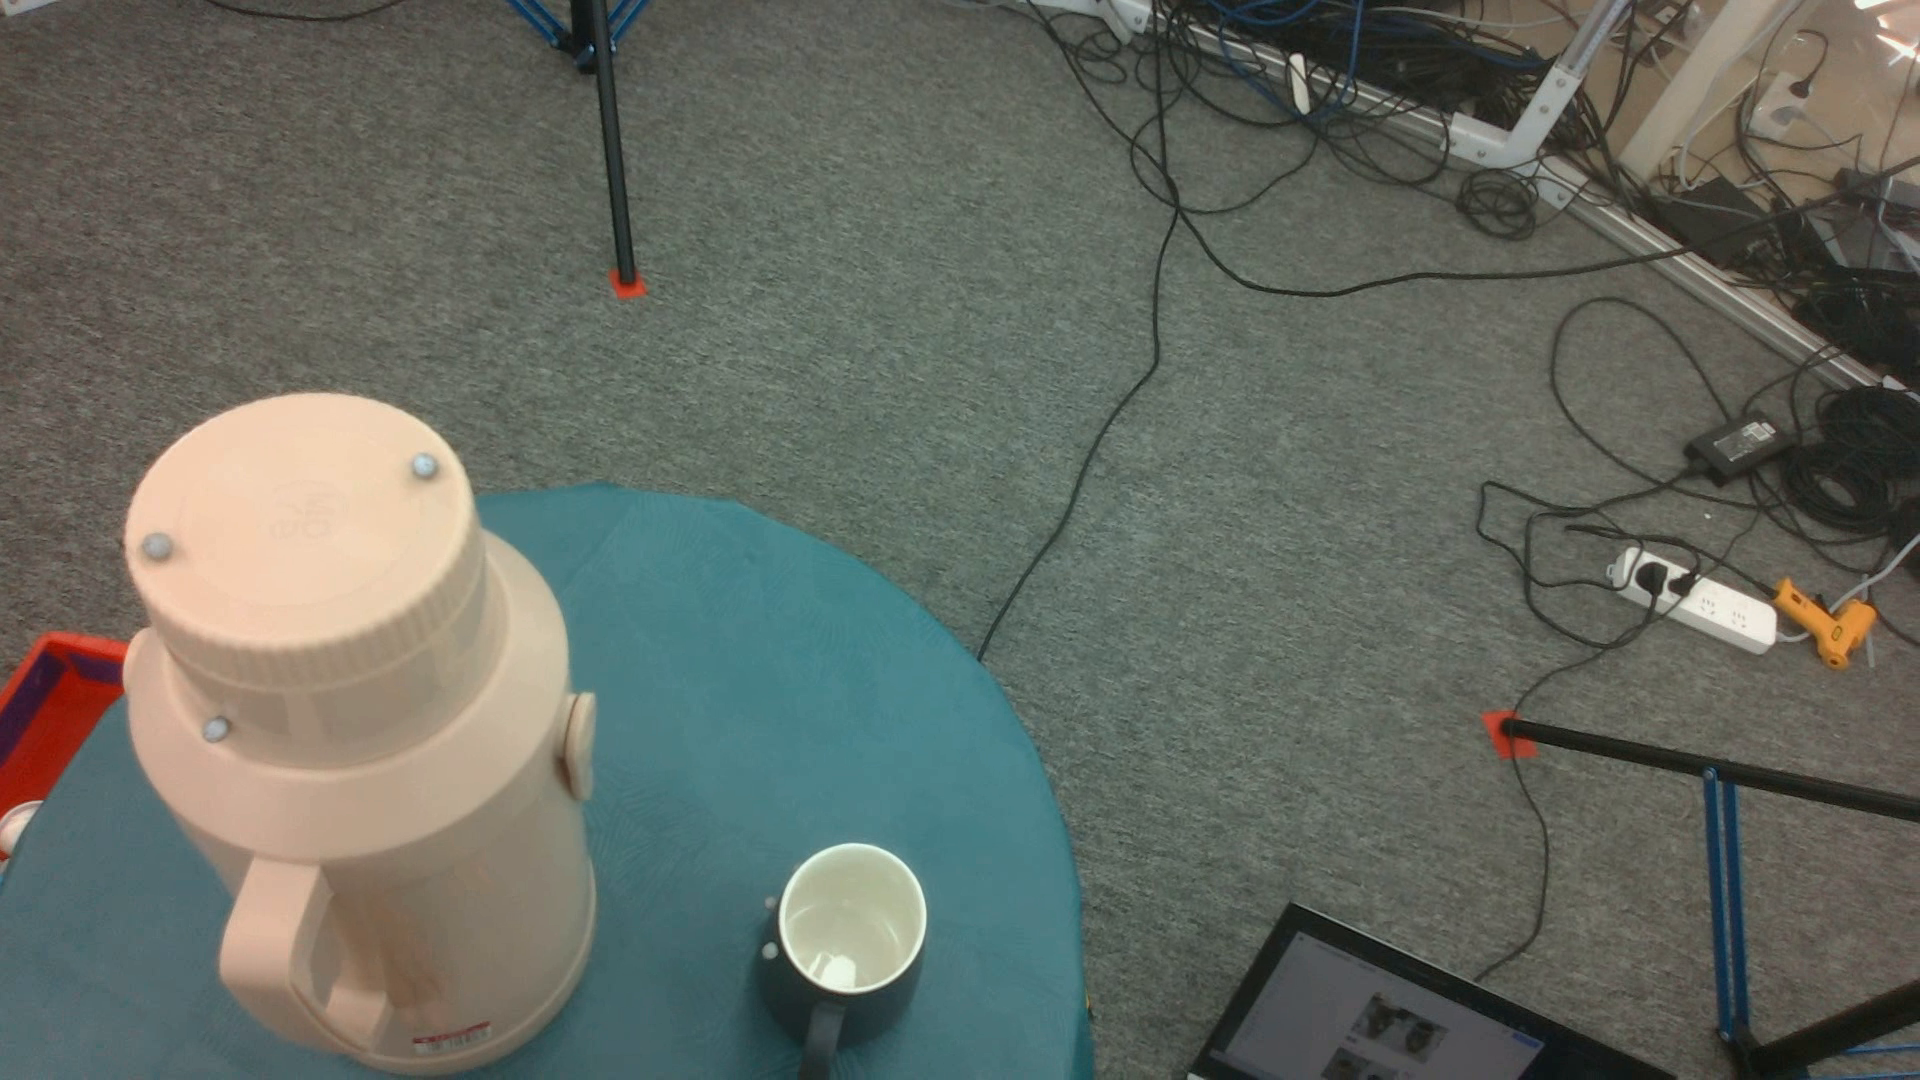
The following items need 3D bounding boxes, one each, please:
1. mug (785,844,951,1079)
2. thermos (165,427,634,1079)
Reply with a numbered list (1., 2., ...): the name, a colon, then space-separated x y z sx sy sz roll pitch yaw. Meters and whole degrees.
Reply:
1. mug: -0.053 0.238 0.764 0.093 0.089 0.124 13 53 0
2. thermos: -0.242 0.128 0.620 0.175 0.404 0.208 7 53 -6
